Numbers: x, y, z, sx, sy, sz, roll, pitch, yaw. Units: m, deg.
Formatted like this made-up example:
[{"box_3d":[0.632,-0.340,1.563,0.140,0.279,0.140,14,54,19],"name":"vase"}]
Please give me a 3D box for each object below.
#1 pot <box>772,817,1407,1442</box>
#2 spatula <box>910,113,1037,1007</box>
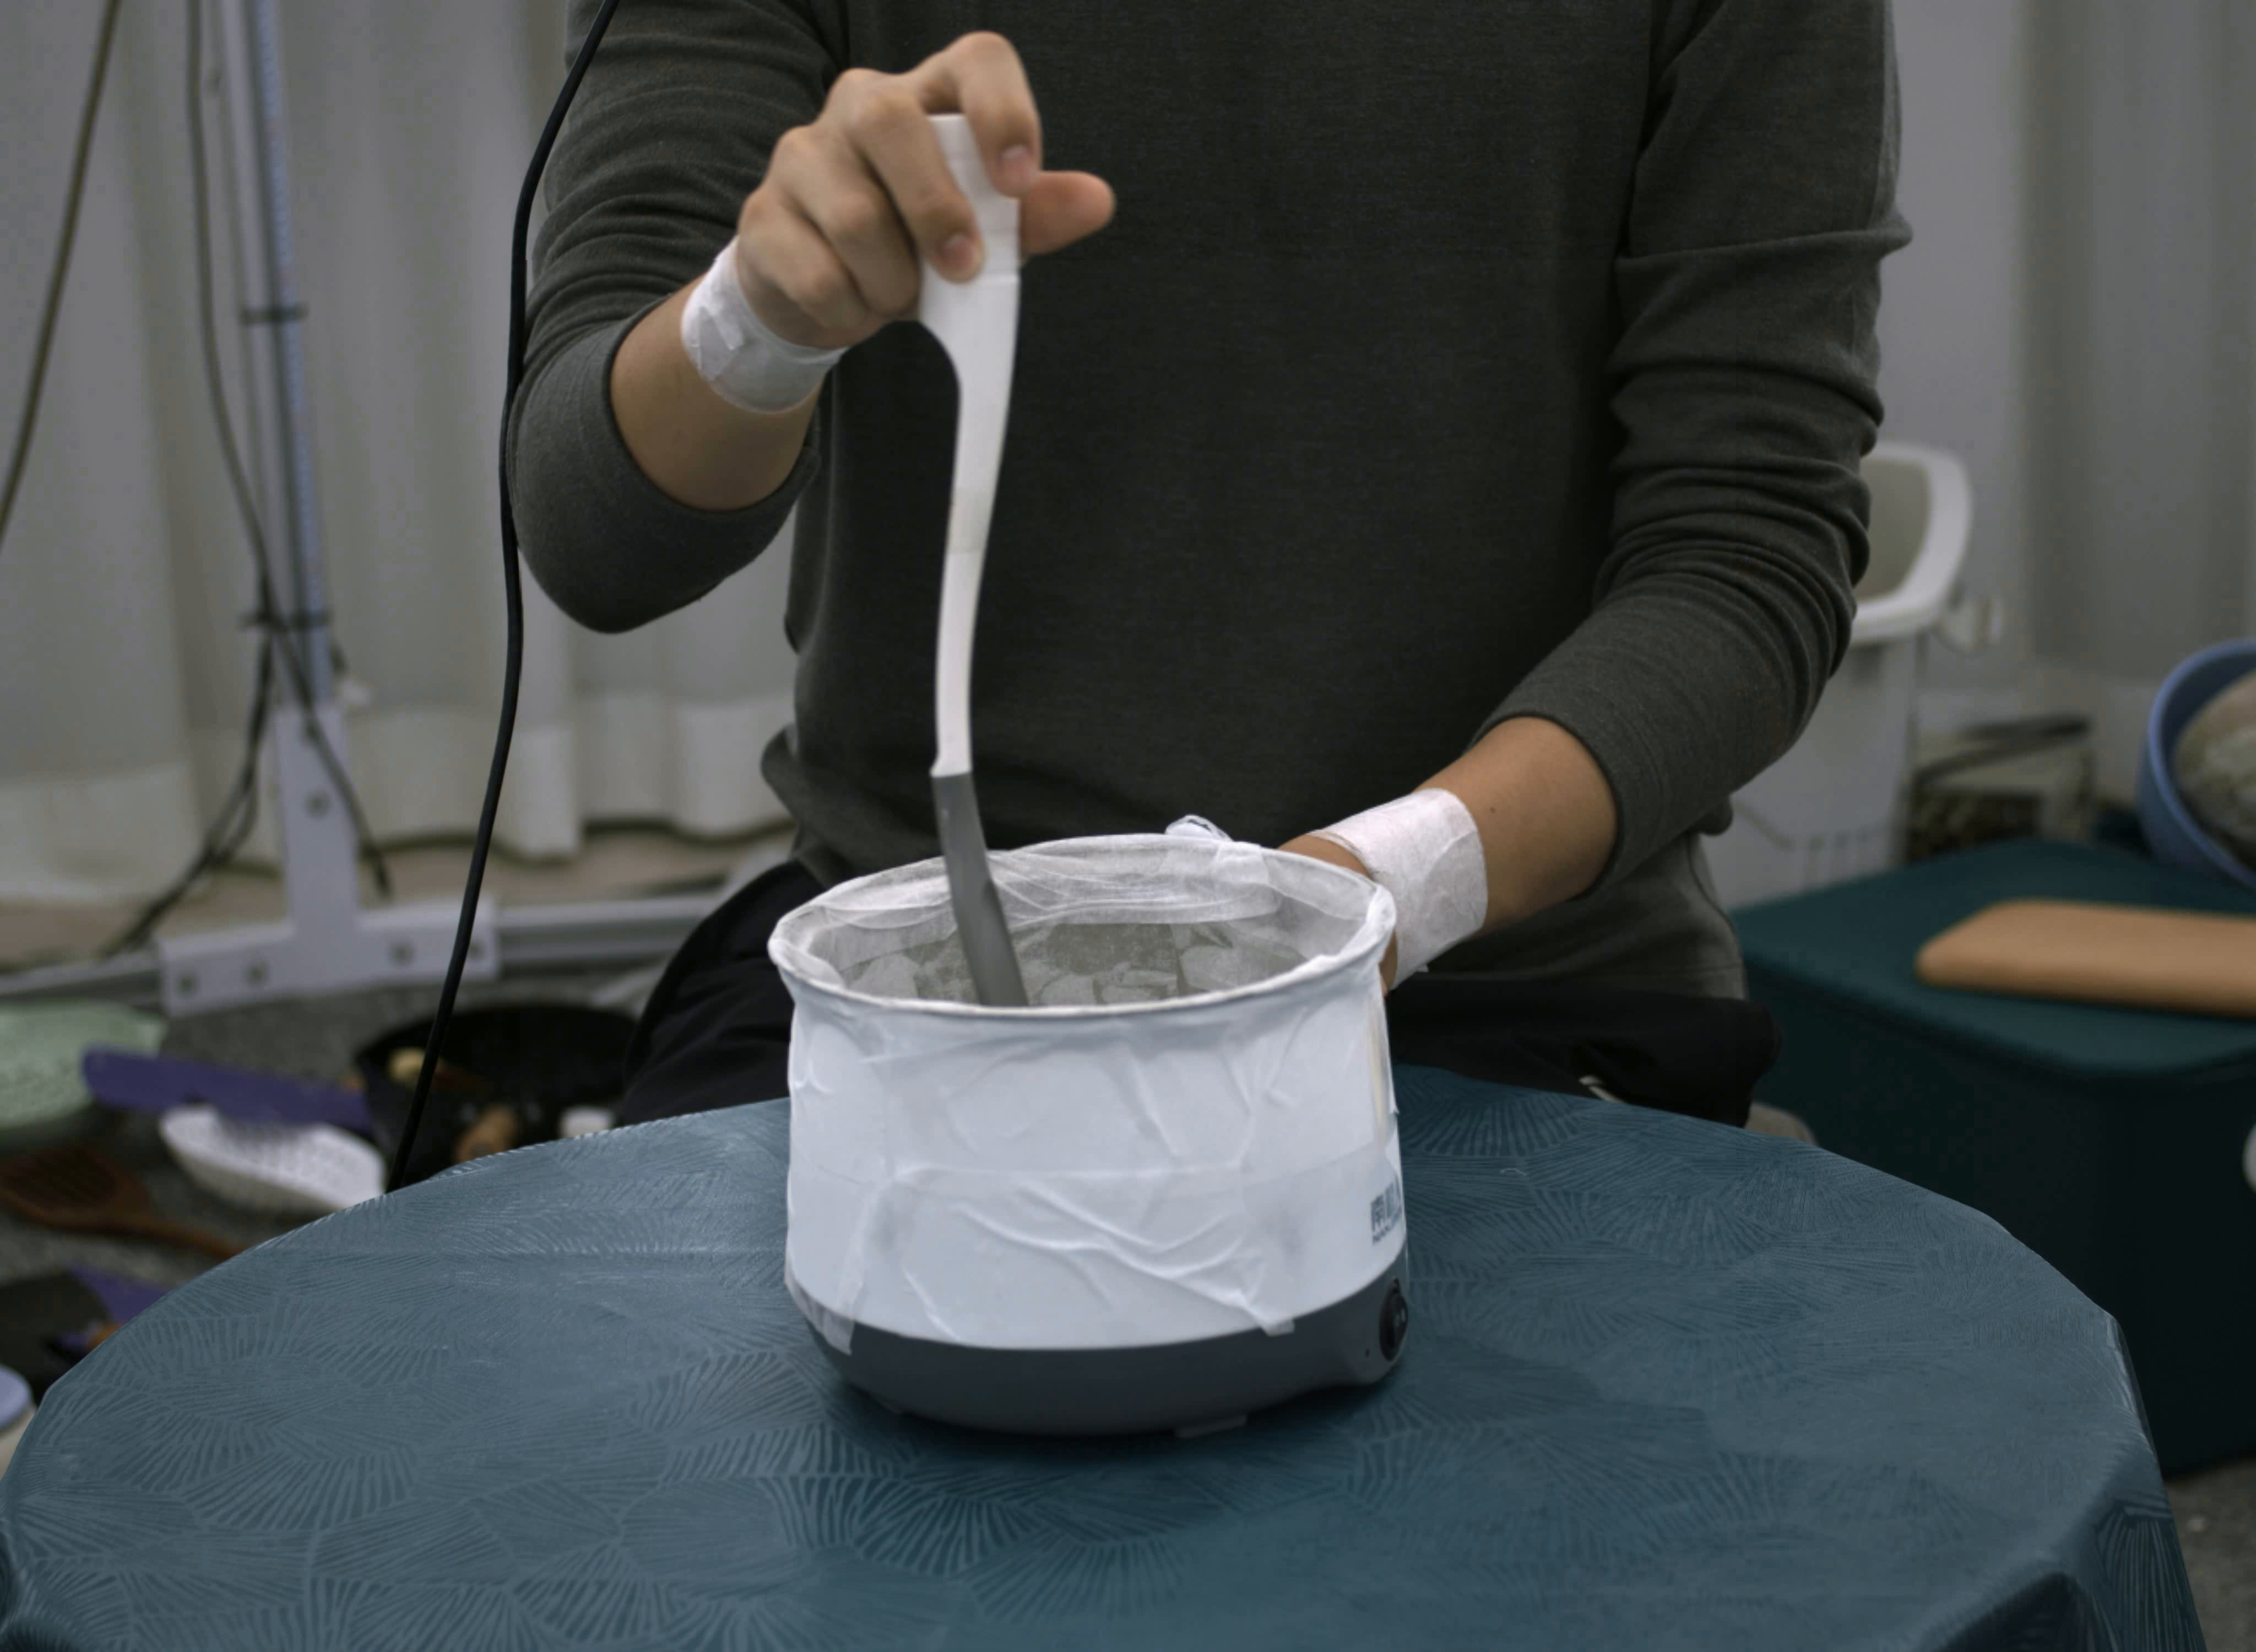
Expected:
[{"box_3d":[-0.001,0.081,1.581,0.179,0.136,0.234,2,15,18],"name":"pot"},{"box_3d":[-0.037,-0.050,1.503,0.032,0.288,0.059,-2,5,6],"name":"spatula"}]
